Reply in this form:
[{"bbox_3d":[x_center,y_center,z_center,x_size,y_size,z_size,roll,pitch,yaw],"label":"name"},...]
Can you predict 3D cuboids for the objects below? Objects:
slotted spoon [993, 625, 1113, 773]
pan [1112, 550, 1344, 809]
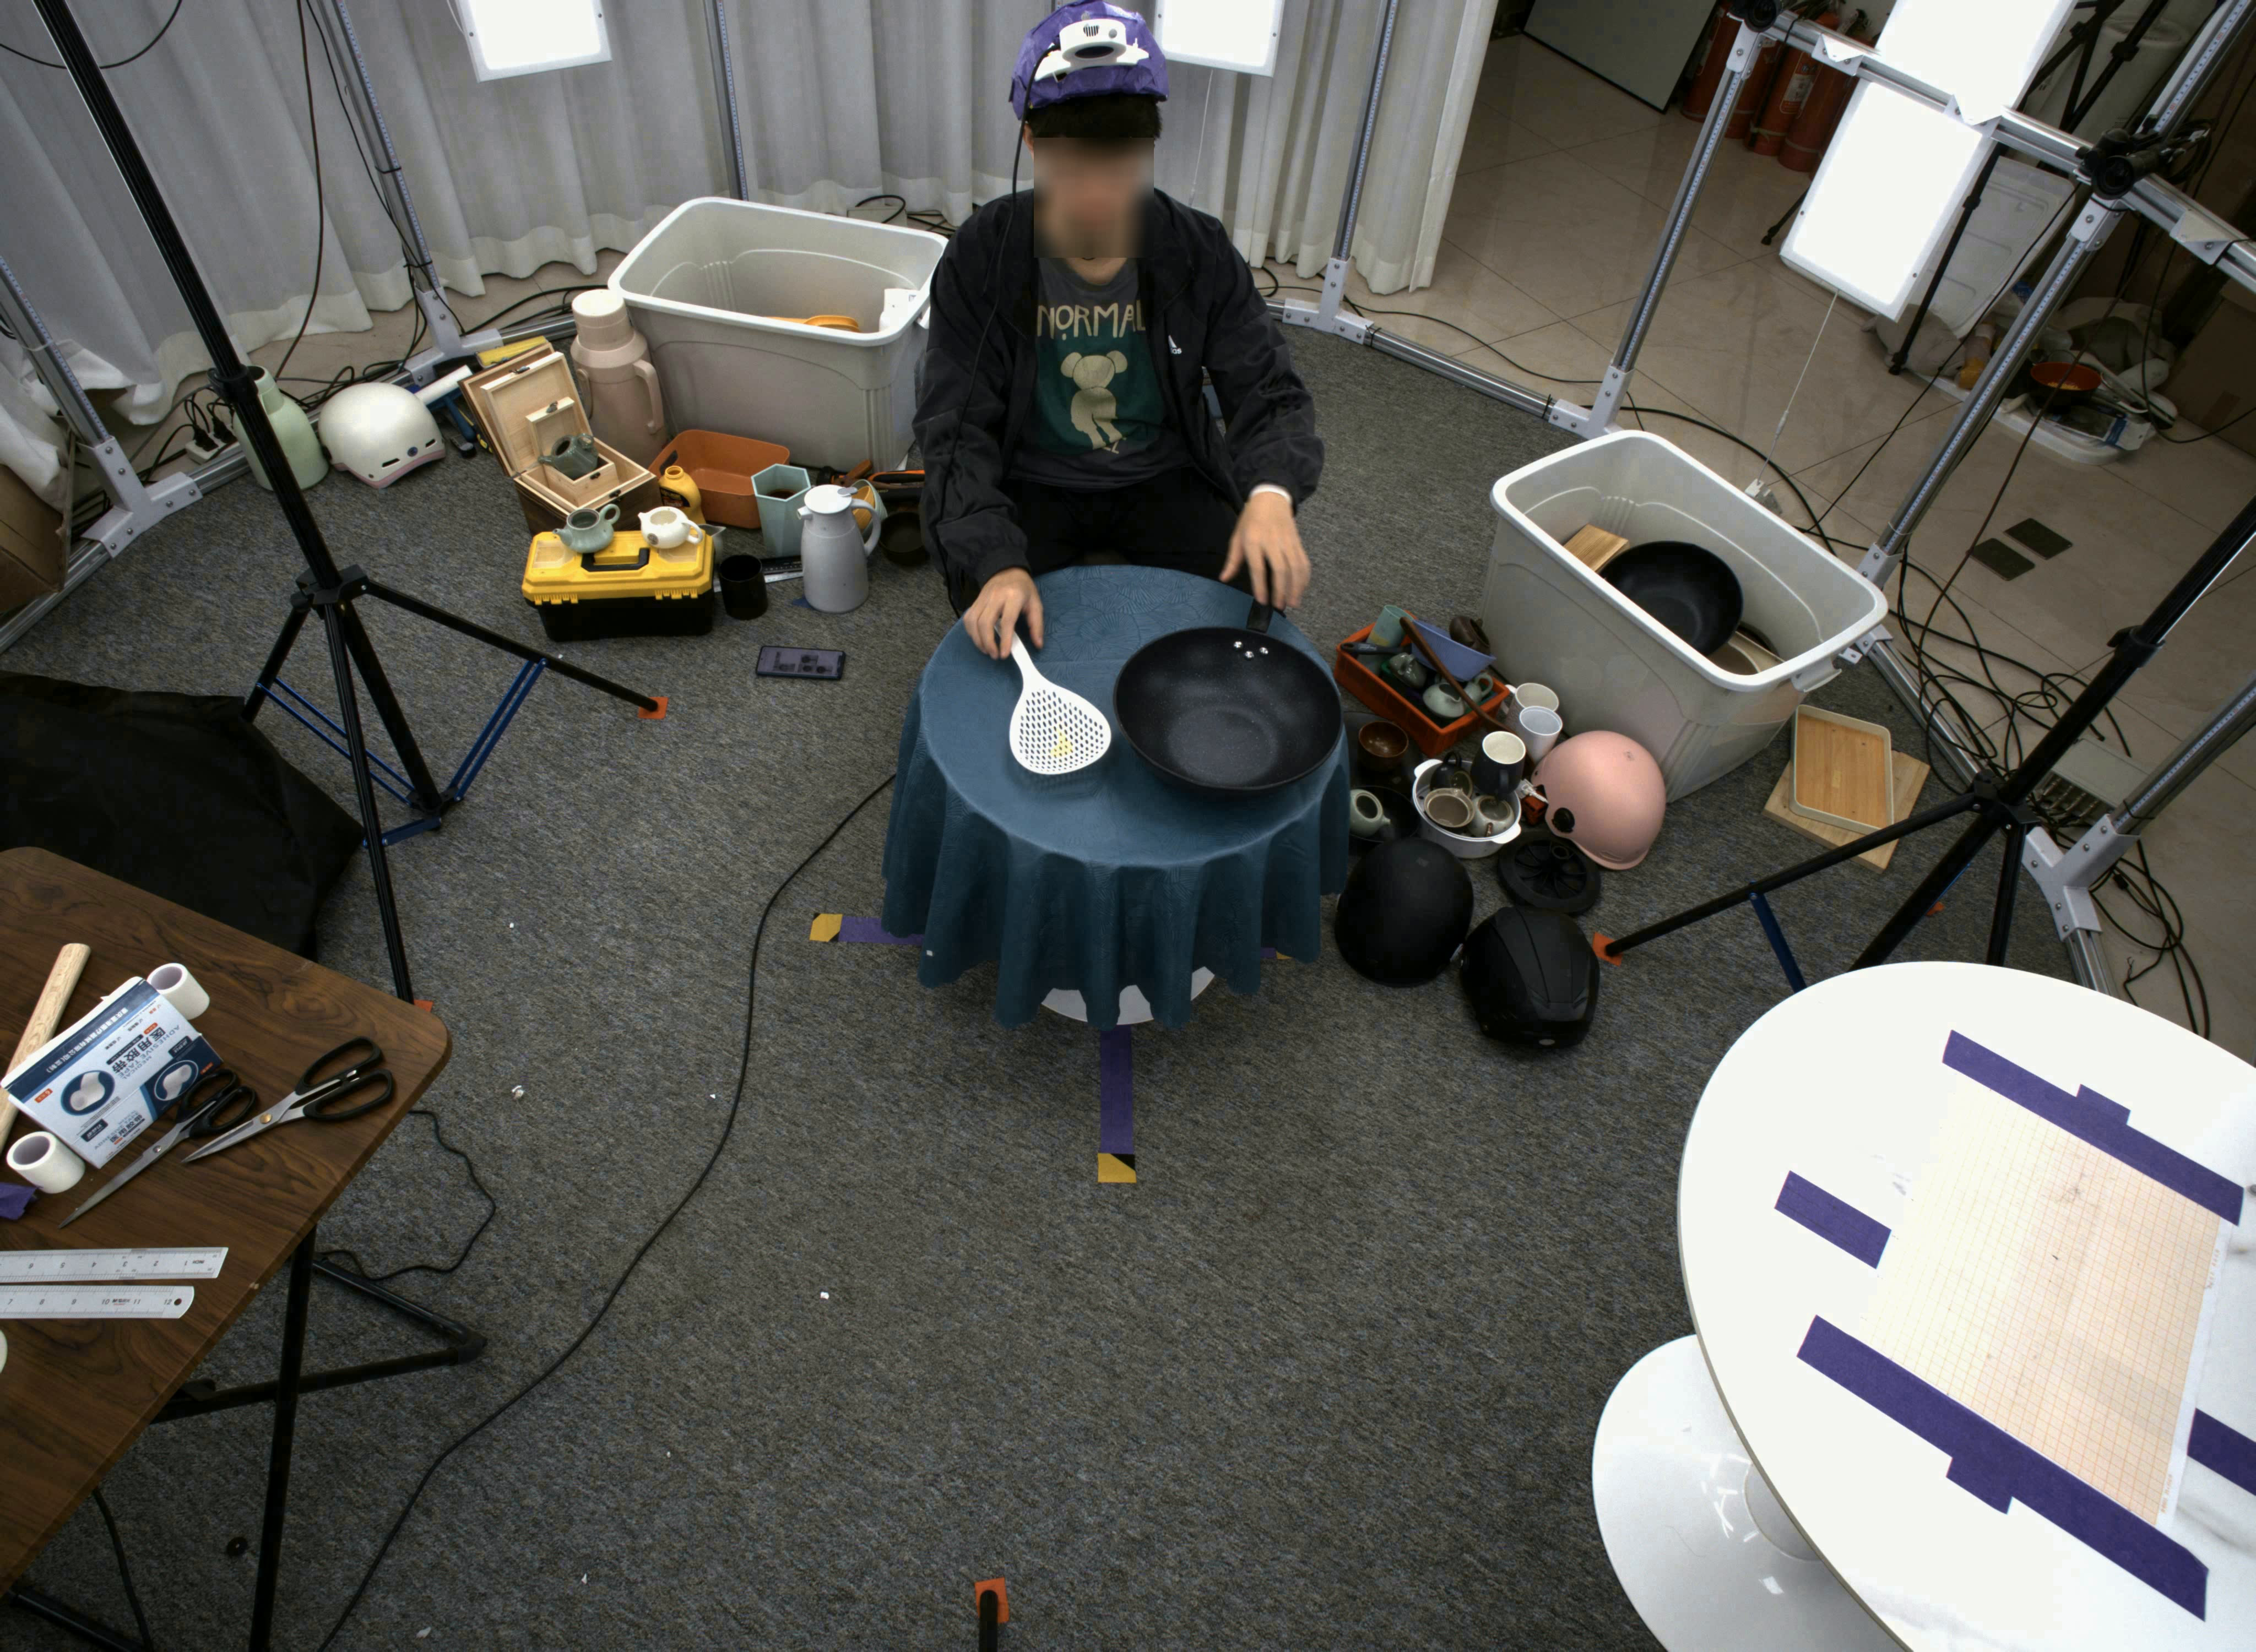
[{"bbox_3d":[-0.127,-0.190,1.797,0.137,0.049,0.356,-19,52,-10],"label":"slotted spoon"},{"bbox_3d":[0.155,-0.199,1.781,0.311,0.109,0.487,15,50,8],"label":"pan"}]
